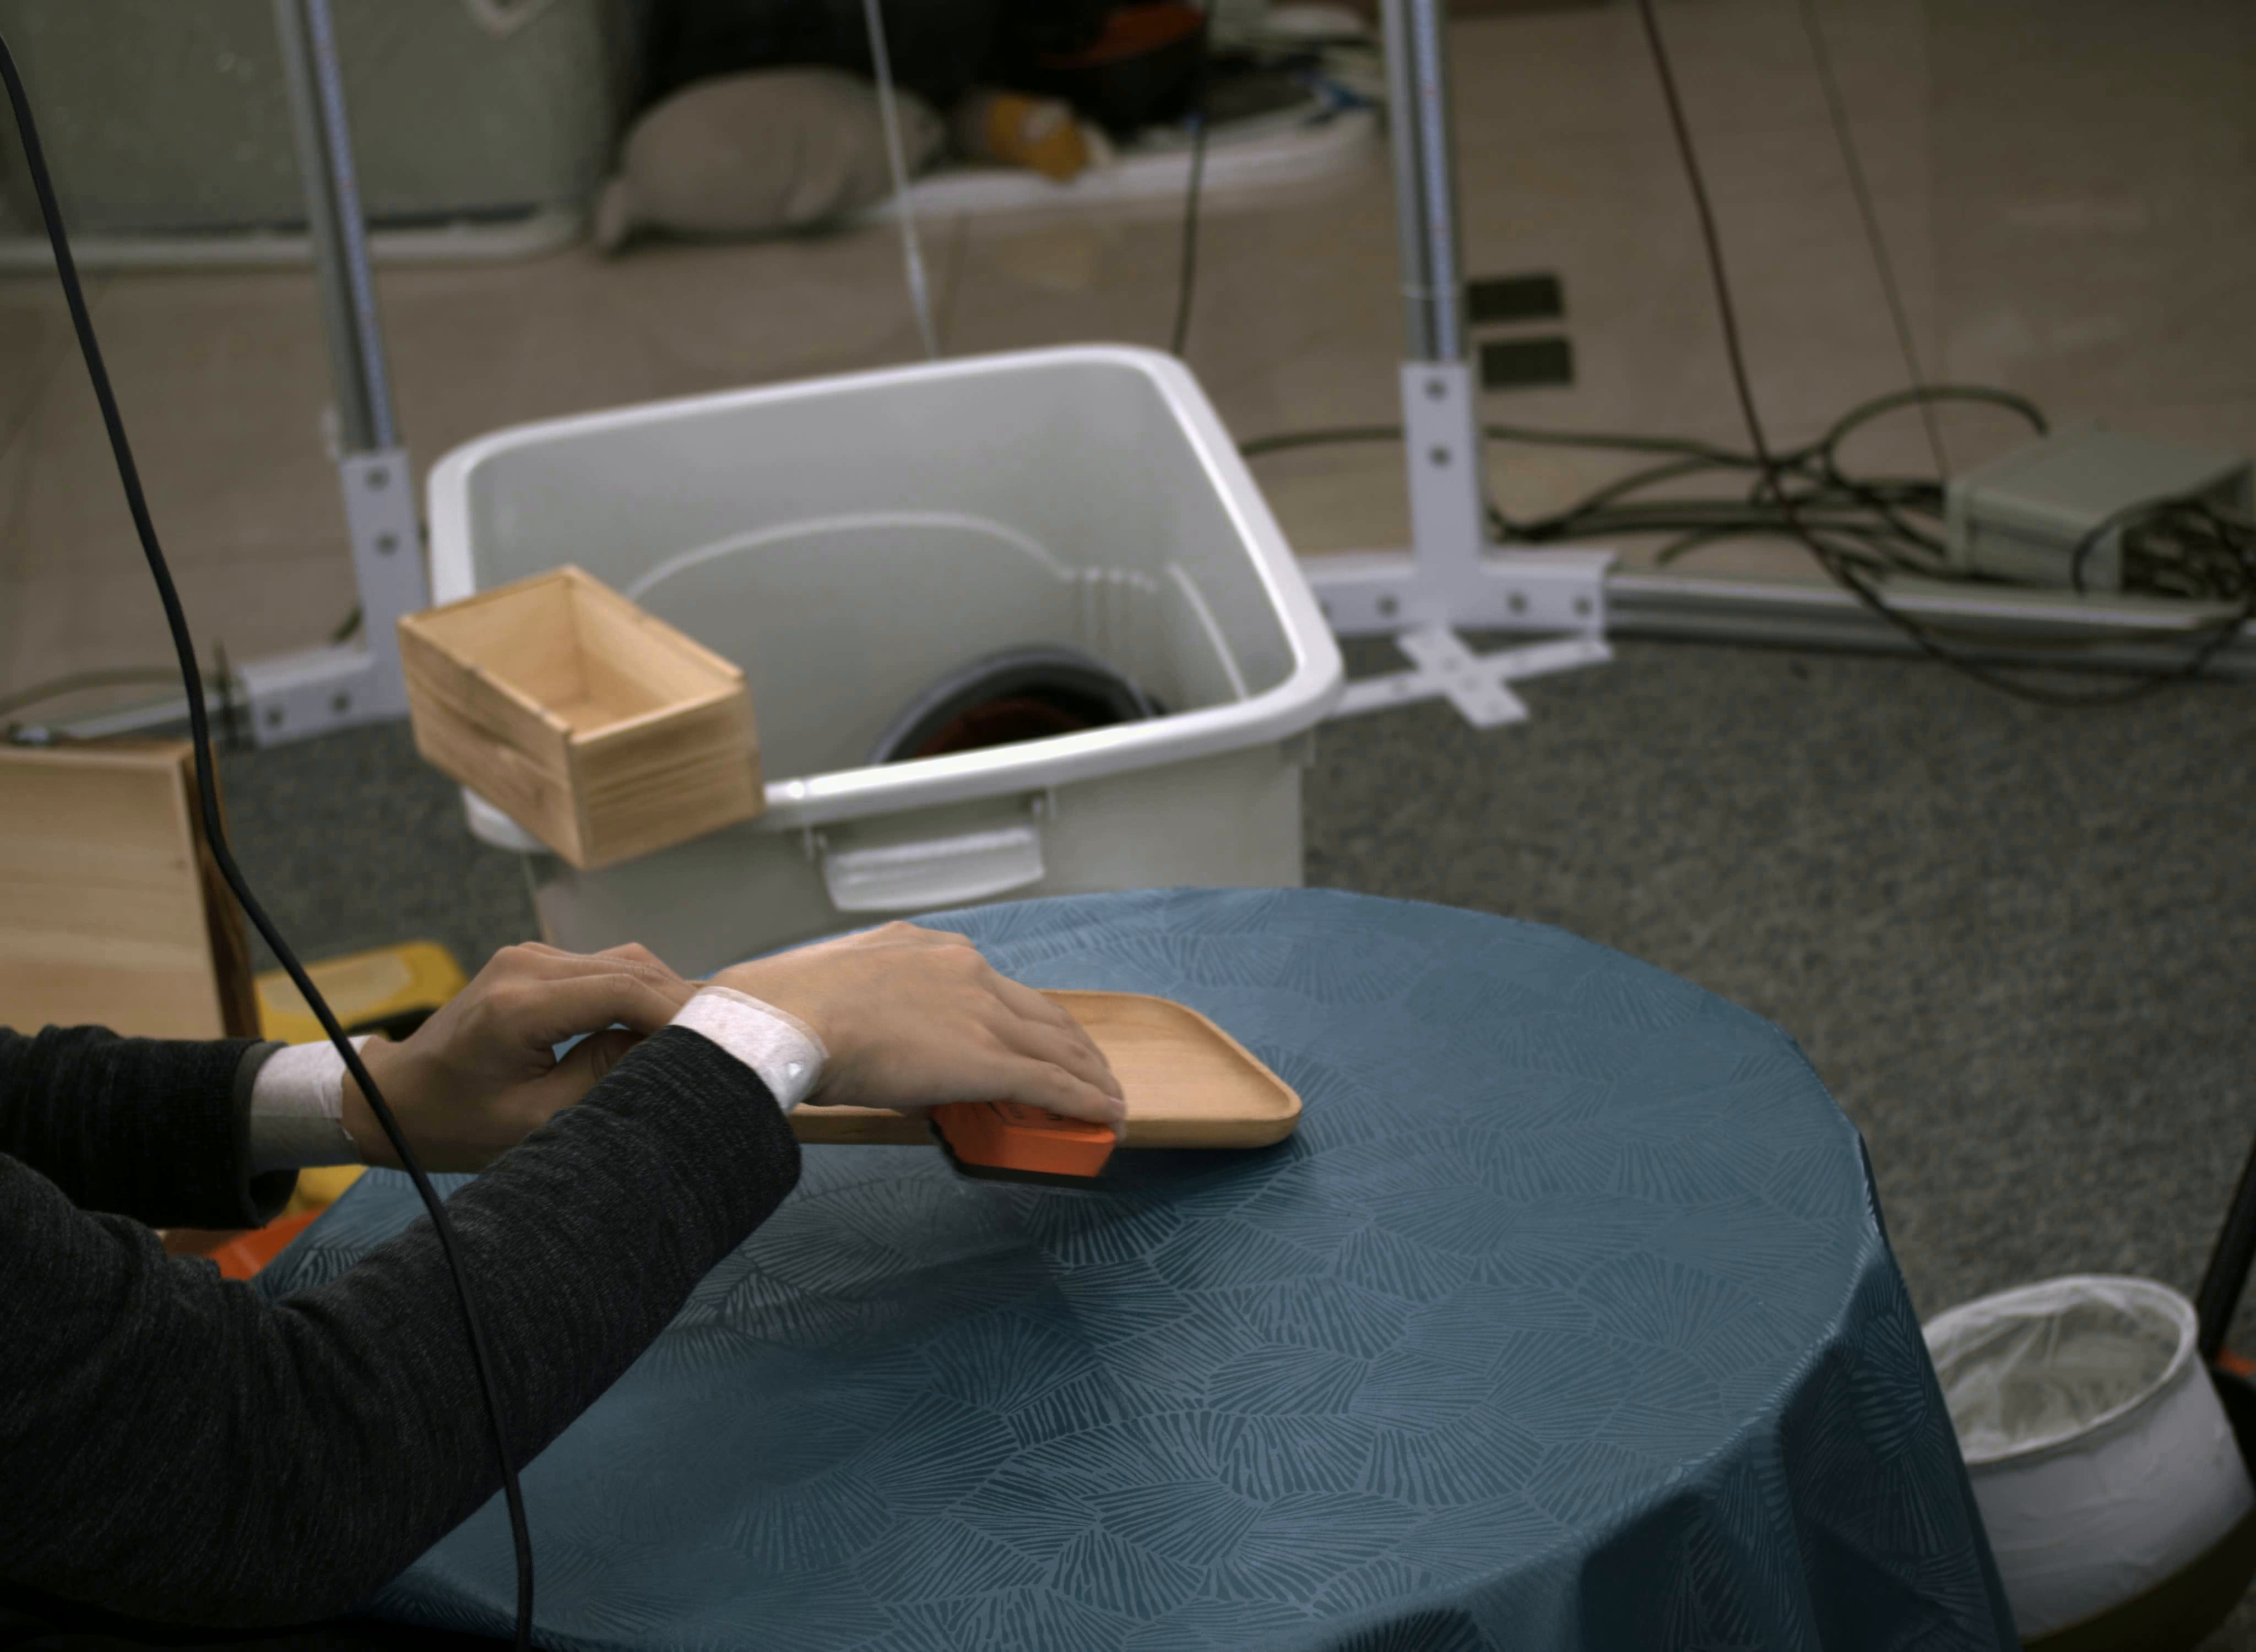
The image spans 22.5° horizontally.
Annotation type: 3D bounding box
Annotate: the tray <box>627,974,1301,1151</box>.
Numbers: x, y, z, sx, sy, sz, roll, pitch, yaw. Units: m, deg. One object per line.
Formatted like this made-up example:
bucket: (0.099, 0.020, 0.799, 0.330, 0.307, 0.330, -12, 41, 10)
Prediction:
tray: (-0.062, 0.091, 2.151, 0.250, 0.023, 0.129, 2, 18, -29)

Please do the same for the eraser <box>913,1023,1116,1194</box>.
eraser: (-0.042, 0.103, 2.070, 0.059, 0.023, 0.106, 4, 19, -14)
